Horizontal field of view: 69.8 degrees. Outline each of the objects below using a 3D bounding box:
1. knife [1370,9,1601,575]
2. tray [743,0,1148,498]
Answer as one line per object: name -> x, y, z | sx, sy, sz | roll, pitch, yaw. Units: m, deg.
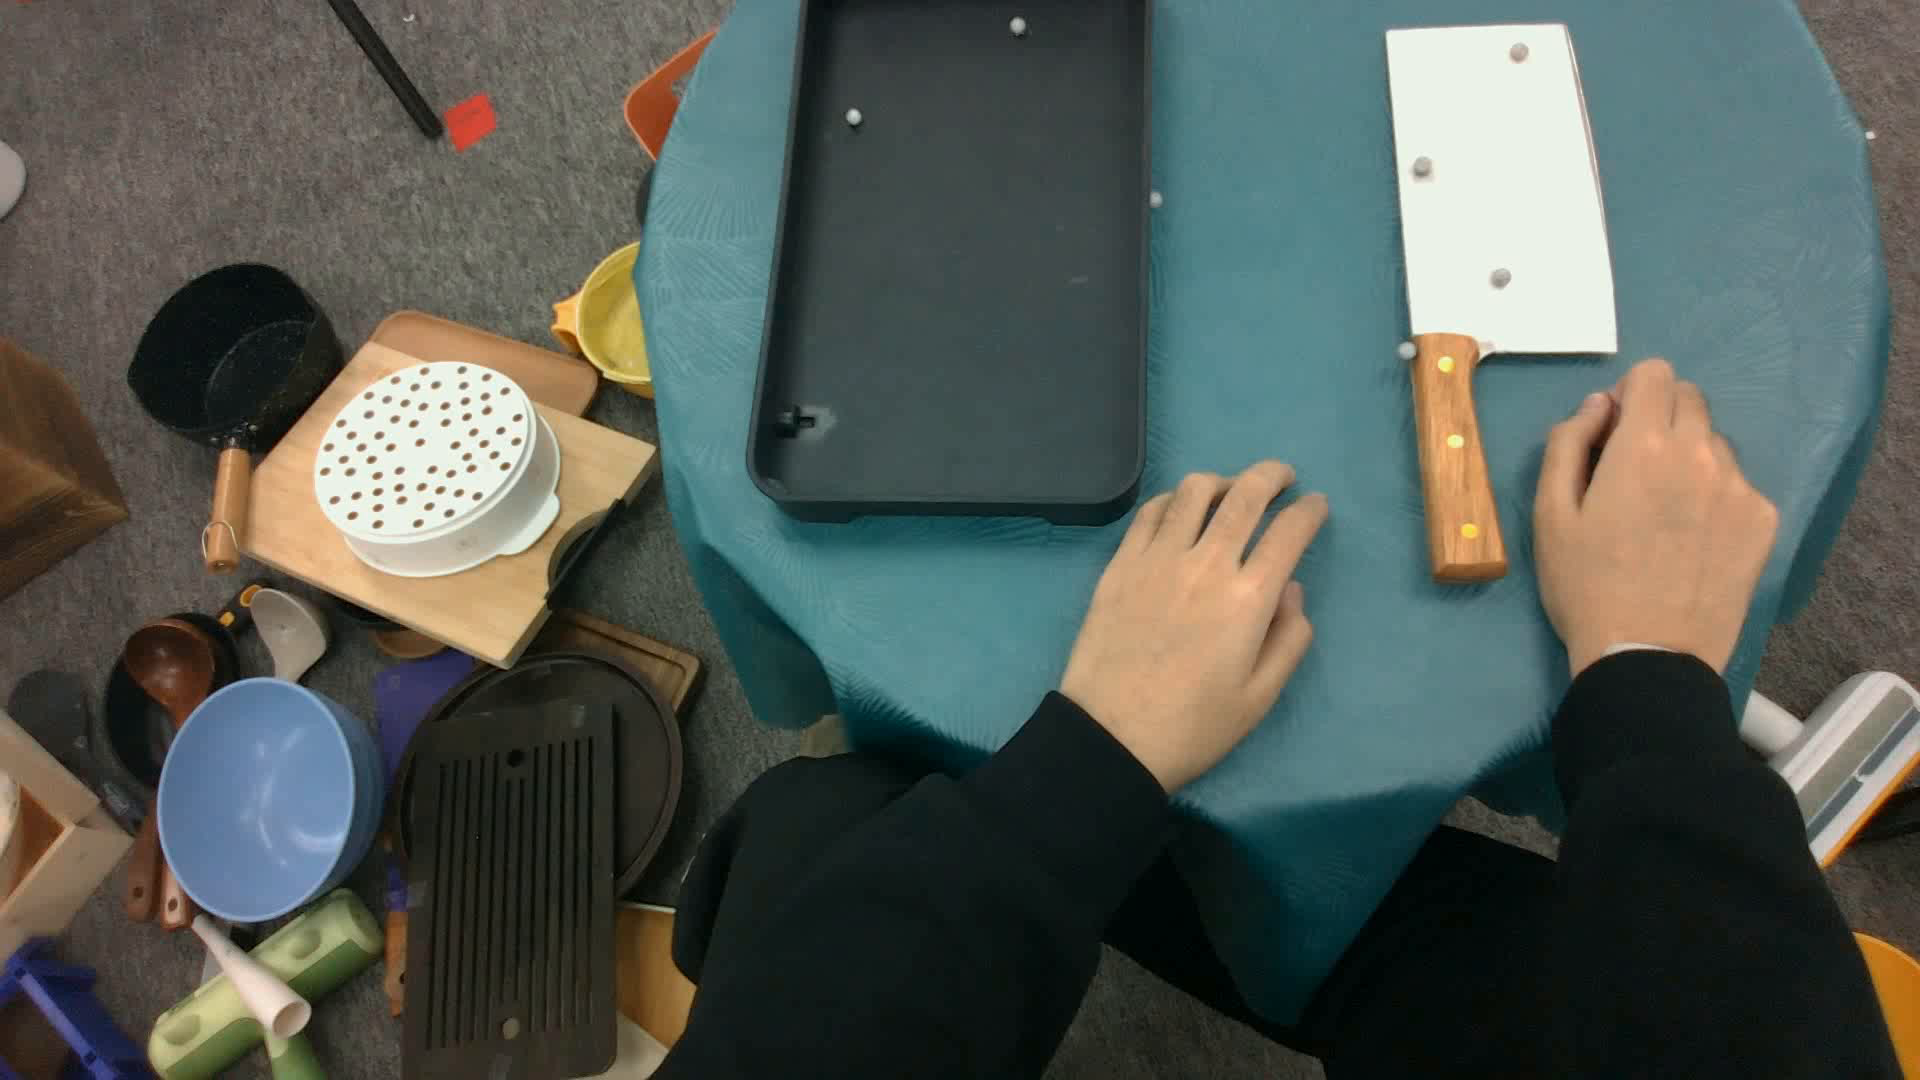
knife -> 0.247, -0.127, 0.642 | 0.093, 0.021, 0.307 | 0, 67, 6
tray -> -0.003, -0.173, 0.680 | 0.184, 0.037, 0.319 | -1, 70, 7
